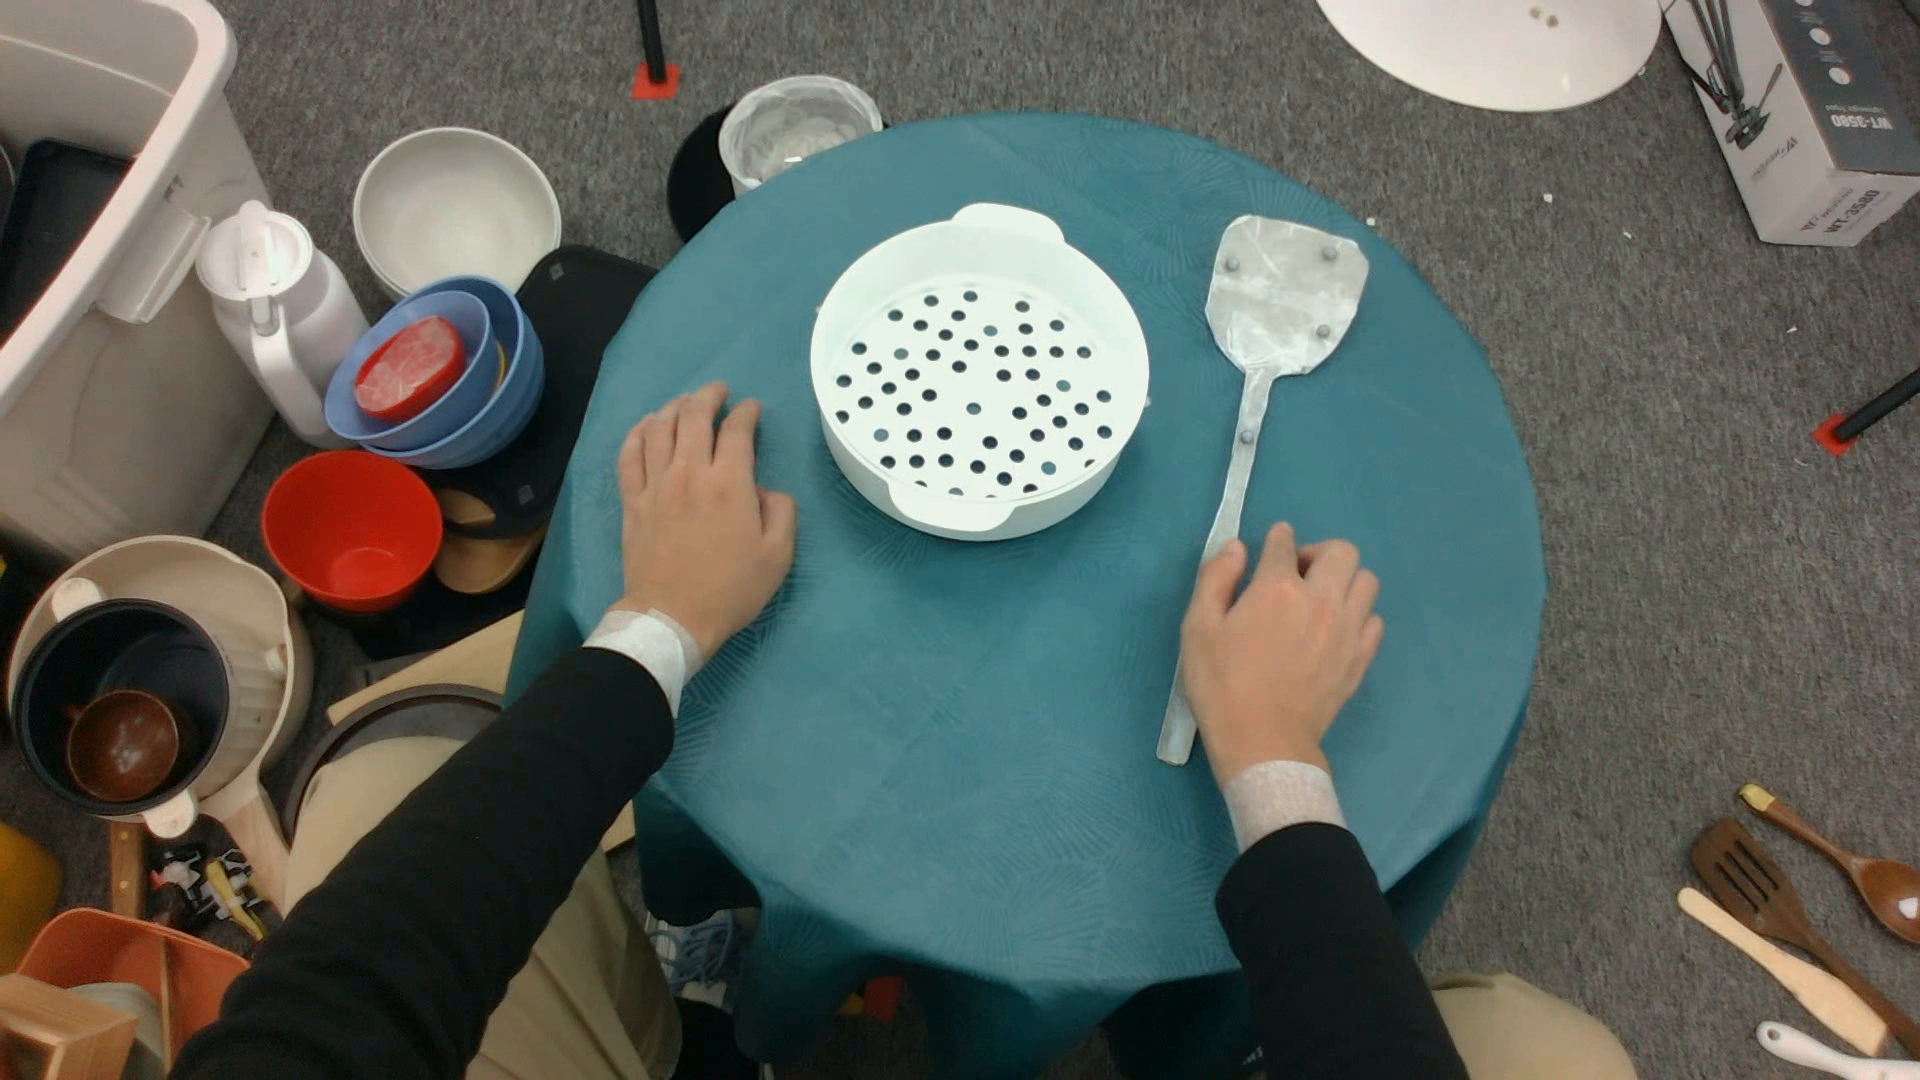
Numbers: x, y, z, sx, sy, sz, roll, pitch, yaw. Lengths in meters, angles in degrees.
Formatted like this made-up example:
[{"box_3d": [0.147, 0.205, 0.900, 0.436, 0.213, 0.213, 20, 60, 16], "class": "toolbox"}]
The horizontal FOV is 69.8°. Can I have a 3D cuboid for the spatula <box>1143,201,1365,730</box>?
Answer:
[{"box_3d": [0.169, -0.053, 0.844, 0.099, 0.044, 0.366, 18, 64, 2], "class": "spatula"}]

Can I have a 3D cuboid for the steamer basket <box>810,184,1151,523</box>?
[{"box_3d": [0.012, -0.107, 0.840, 0.202, 0.069, 0.231, 11, 65, 2], "class": "steamer basket"}]
